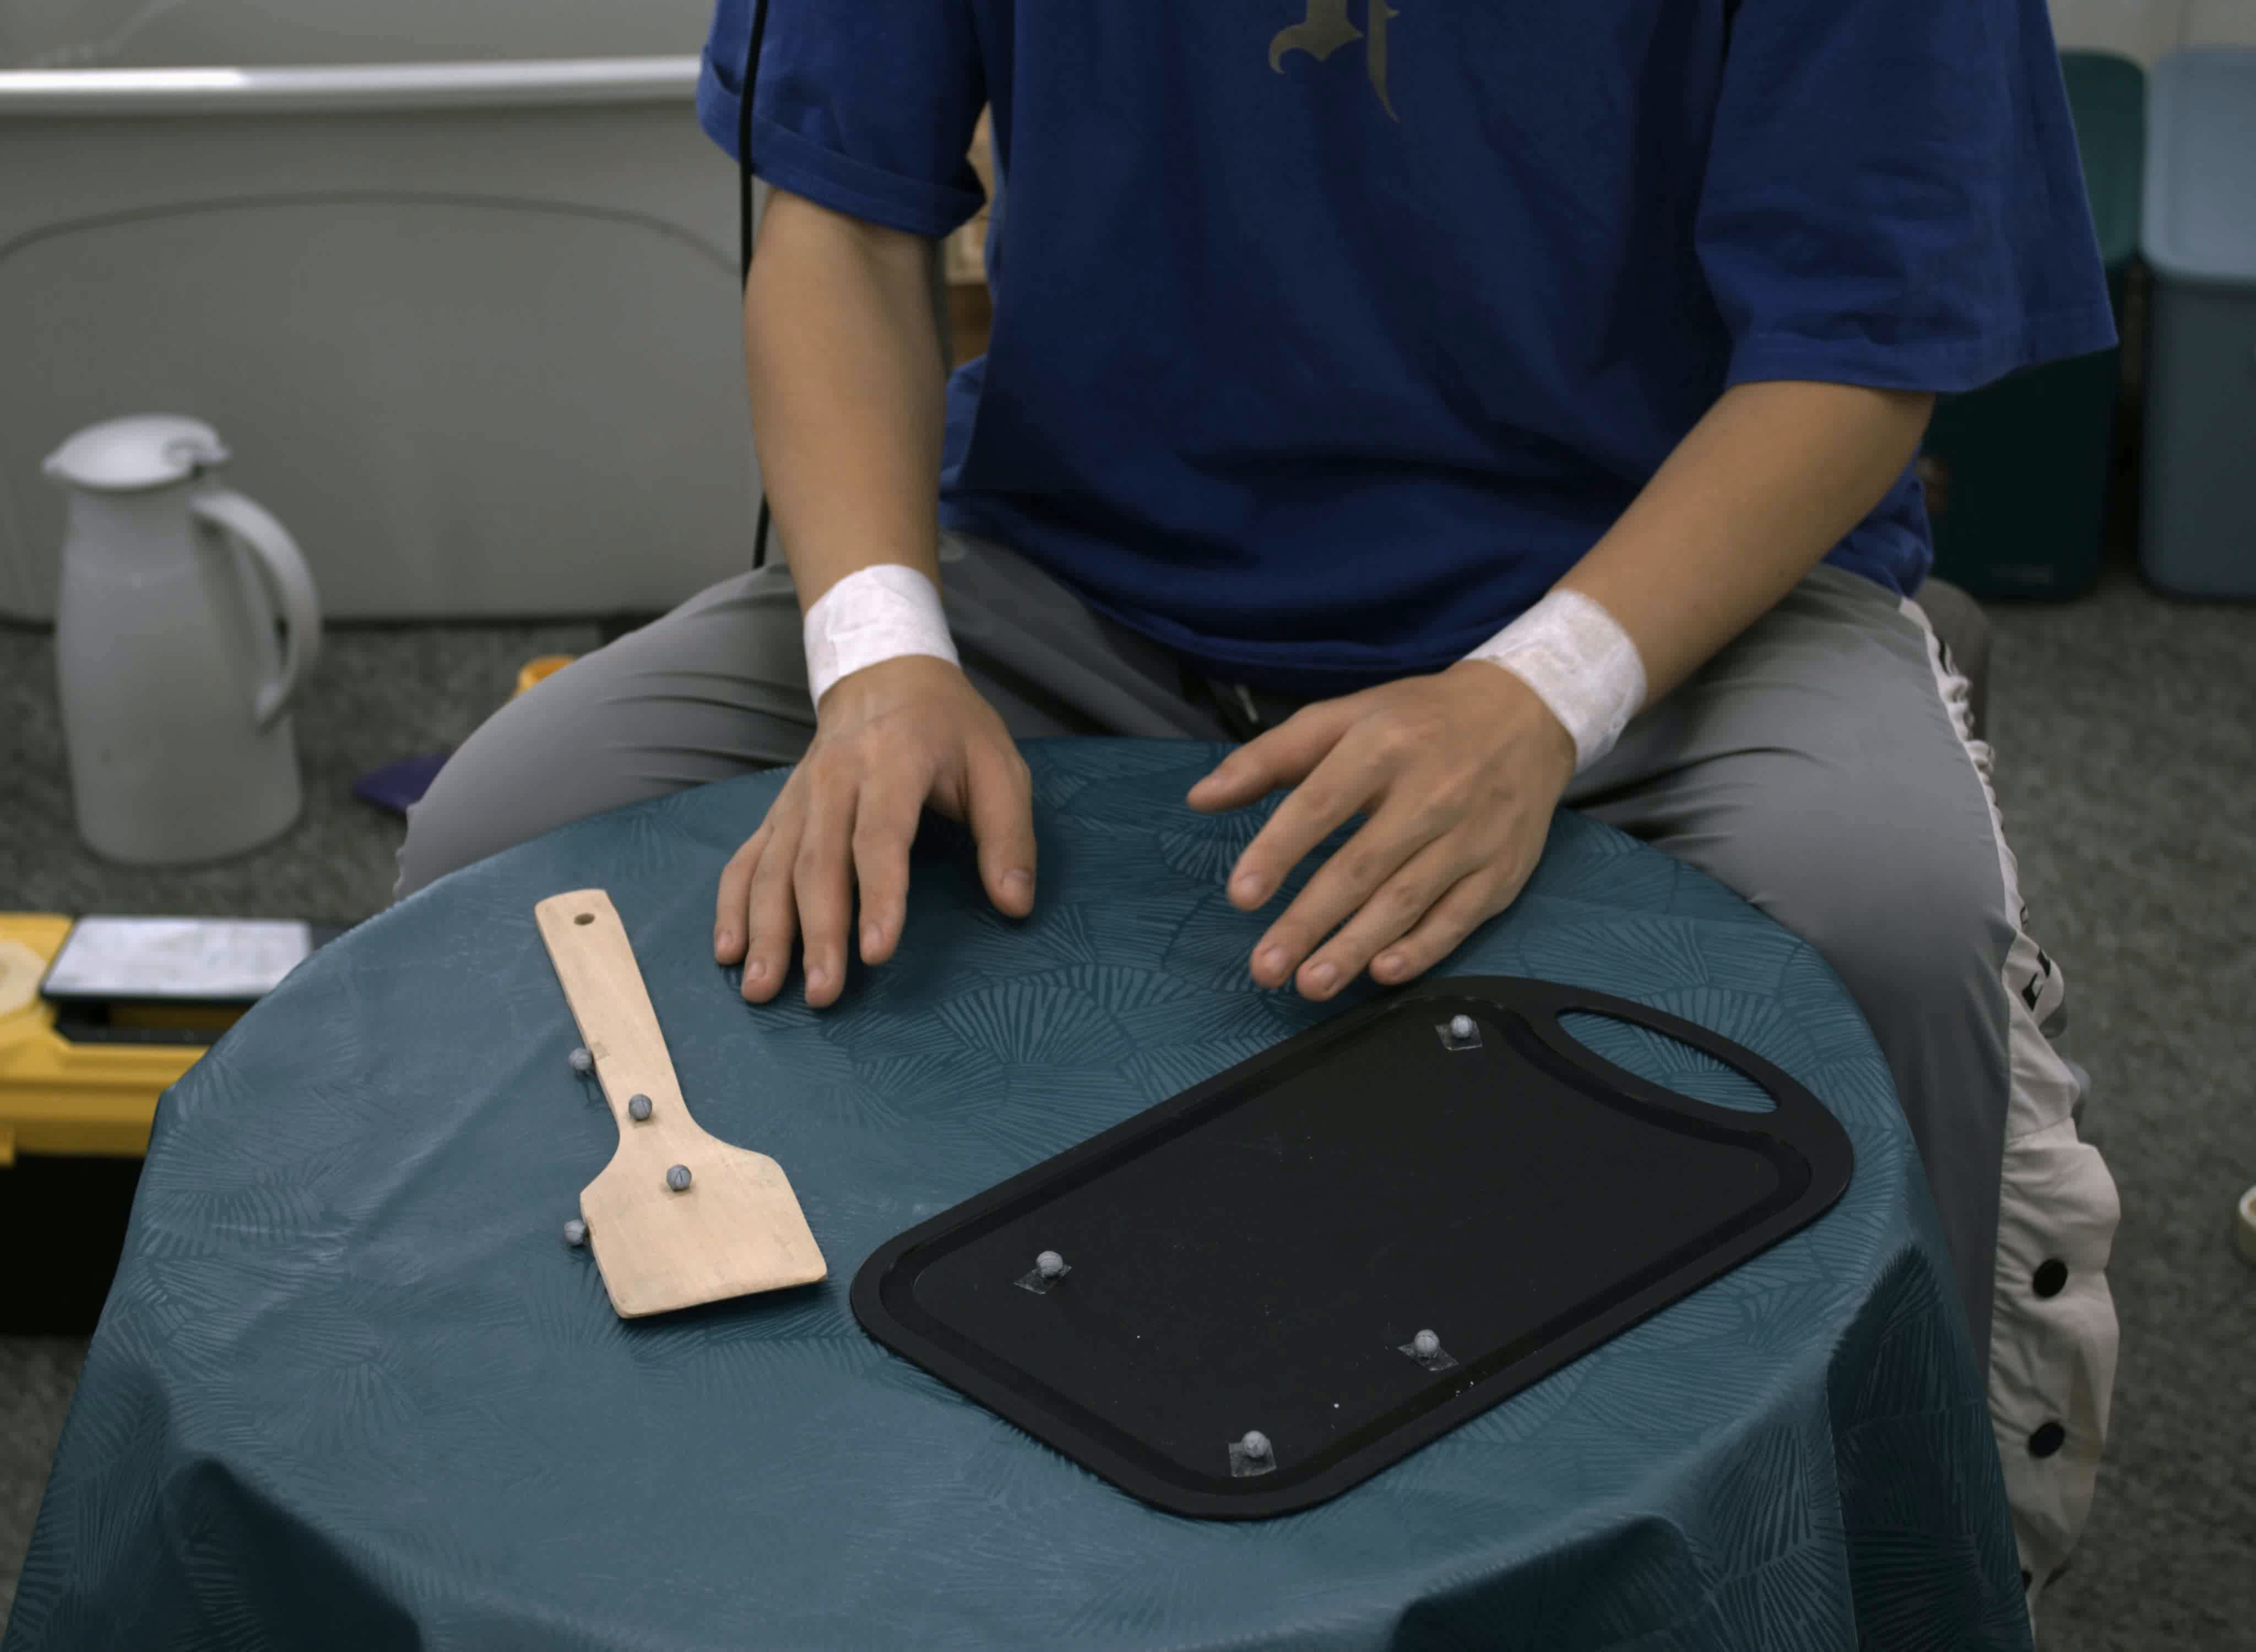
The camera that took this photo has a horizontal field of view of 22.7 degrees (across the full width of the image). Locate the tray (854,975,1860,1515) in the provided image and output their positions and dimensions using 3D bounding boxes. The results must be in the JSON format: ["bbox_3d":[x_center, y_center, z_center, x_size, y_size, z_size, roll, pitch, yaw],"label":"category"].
[{"bbox_3d":[0.082,0.126,1.837,0.329,0.009,0.211,-24,34,-35],"label":"tray"}]

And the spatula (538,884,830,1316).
[{"bbox_3d":[-0.167,0.089,1.930,0.072,0.010,0.296,-11,28,-12],"label":"spatula"}]
